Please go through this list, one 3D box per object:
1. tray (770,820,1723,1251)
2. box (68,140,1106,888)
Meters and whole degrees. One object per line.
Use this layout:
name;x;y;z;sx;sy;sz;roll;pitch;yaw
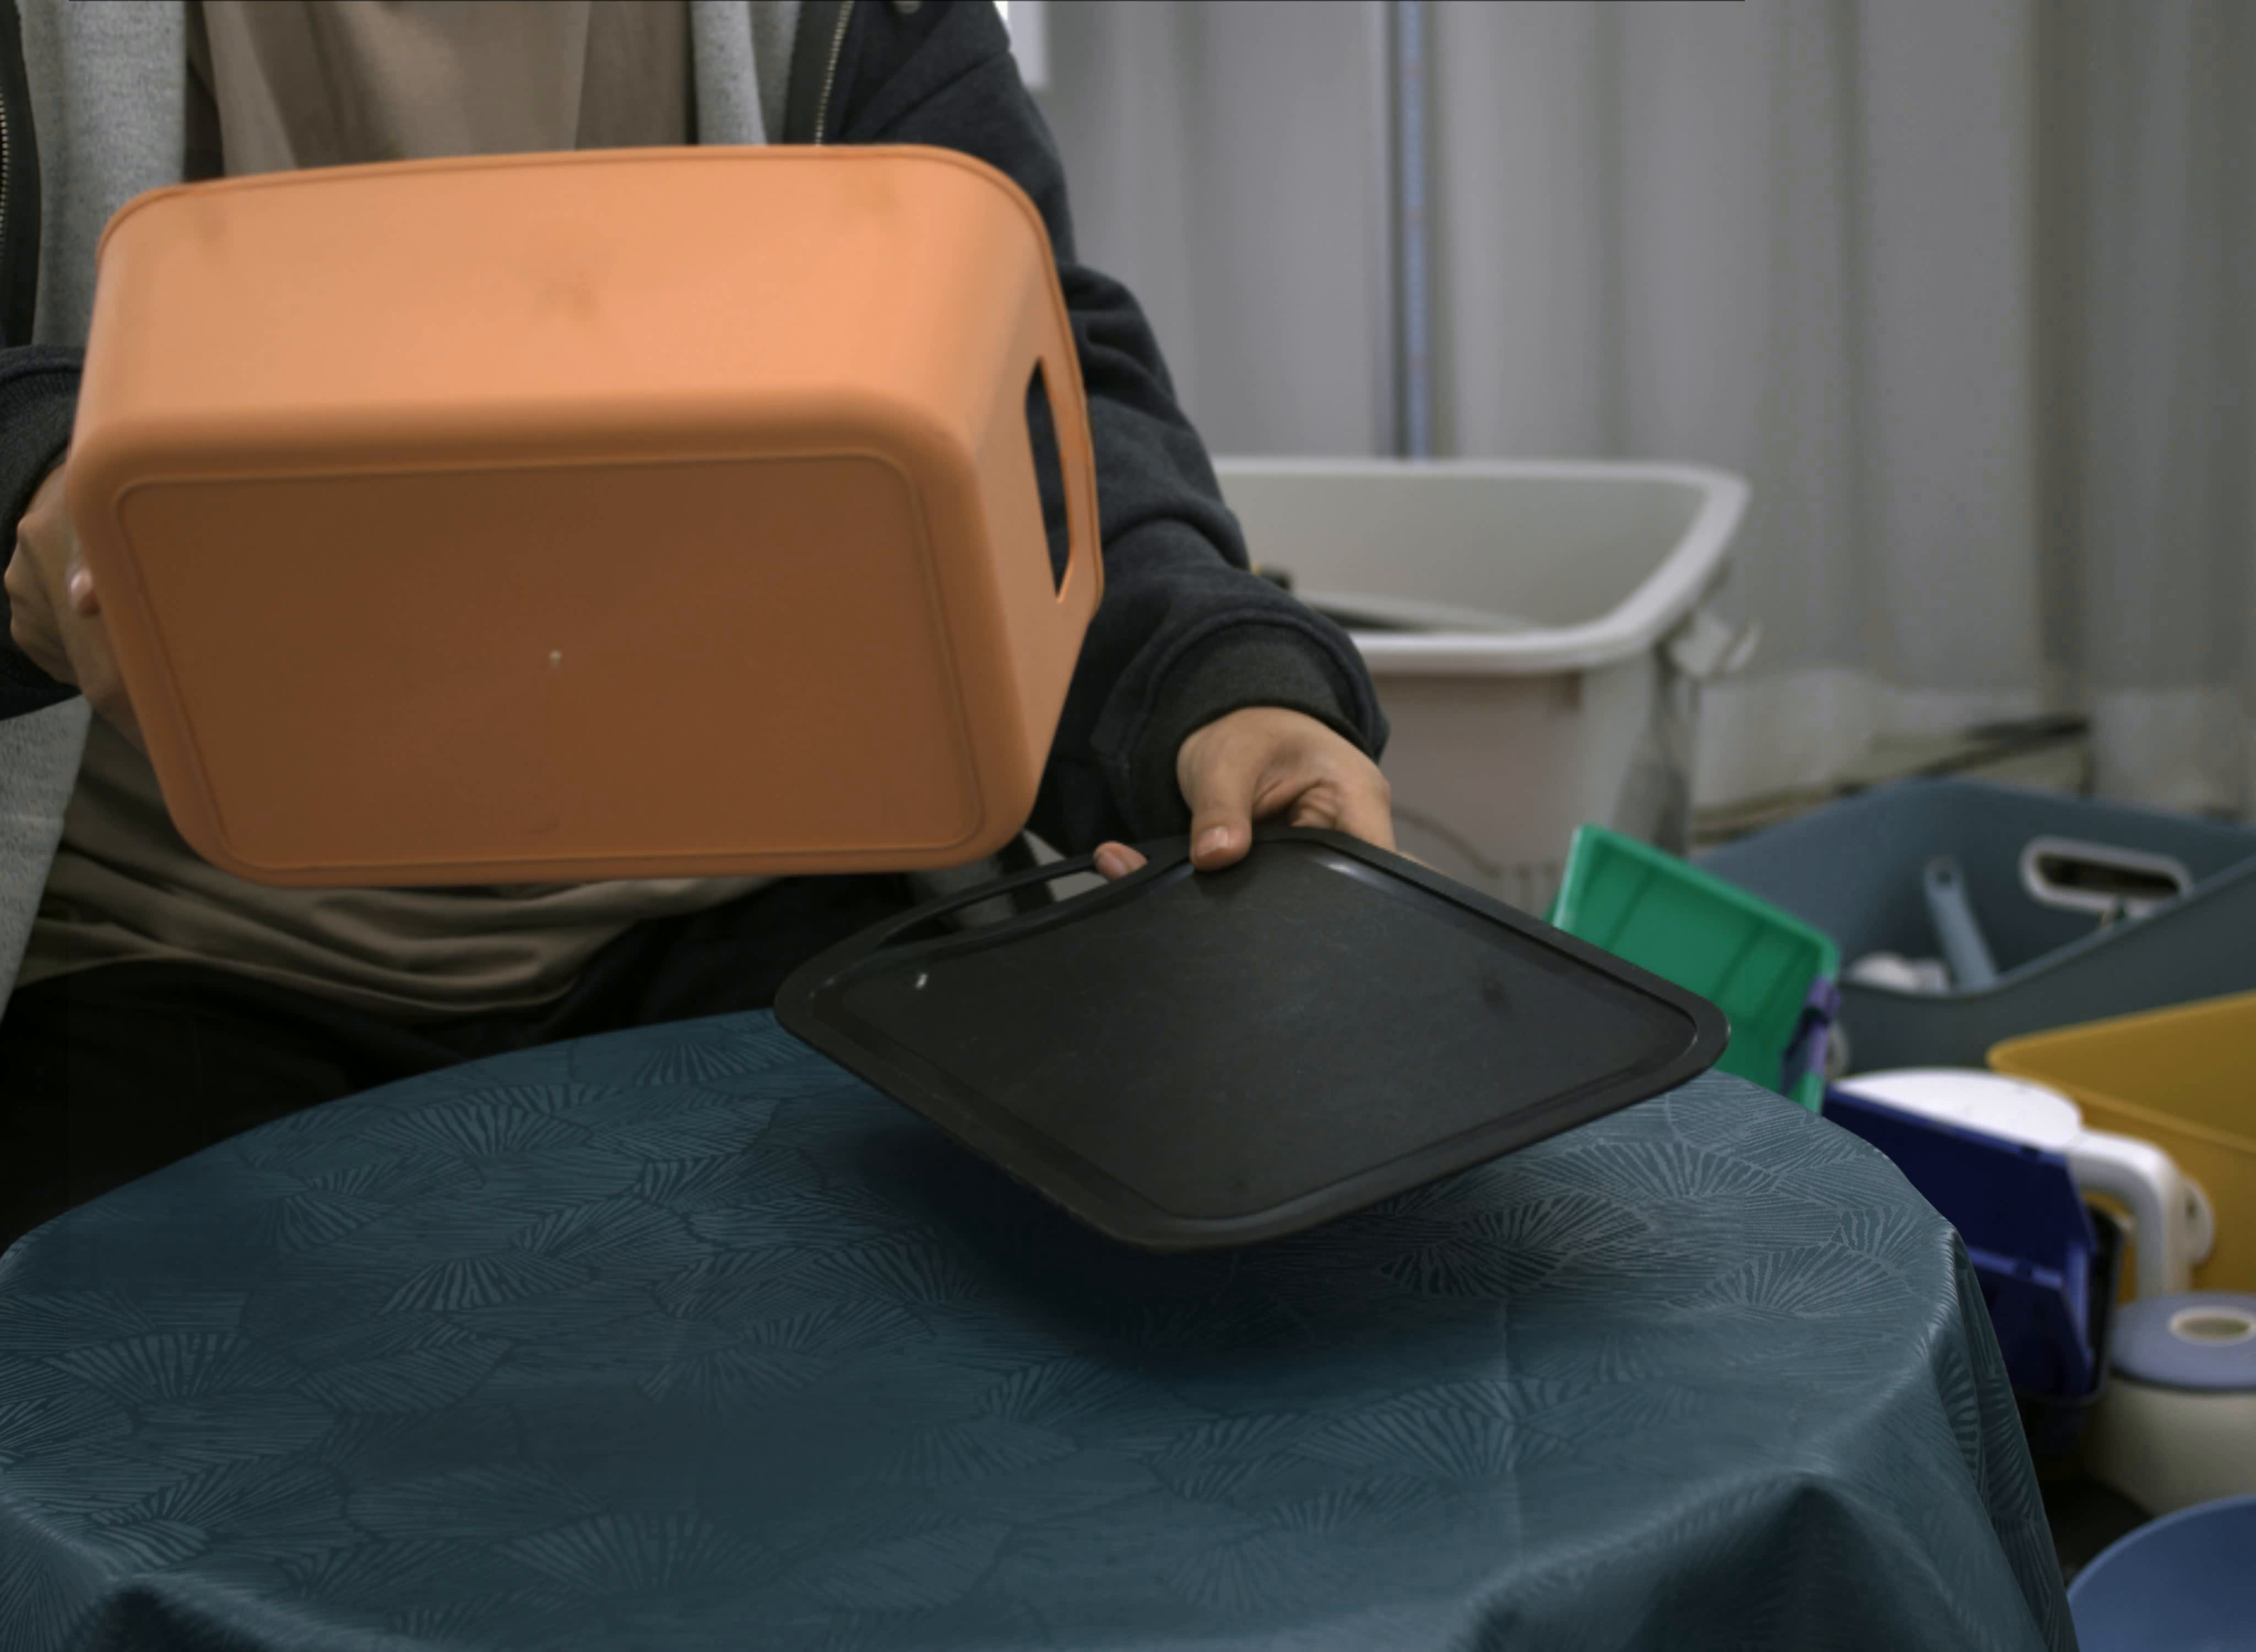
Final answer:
tray;0.025;0.057;1.697;0.210;0.010;0.328;-19;22;-23
box;-0.149;-0.077;1.506;0.272;0.197;0.104;-2;44;9
